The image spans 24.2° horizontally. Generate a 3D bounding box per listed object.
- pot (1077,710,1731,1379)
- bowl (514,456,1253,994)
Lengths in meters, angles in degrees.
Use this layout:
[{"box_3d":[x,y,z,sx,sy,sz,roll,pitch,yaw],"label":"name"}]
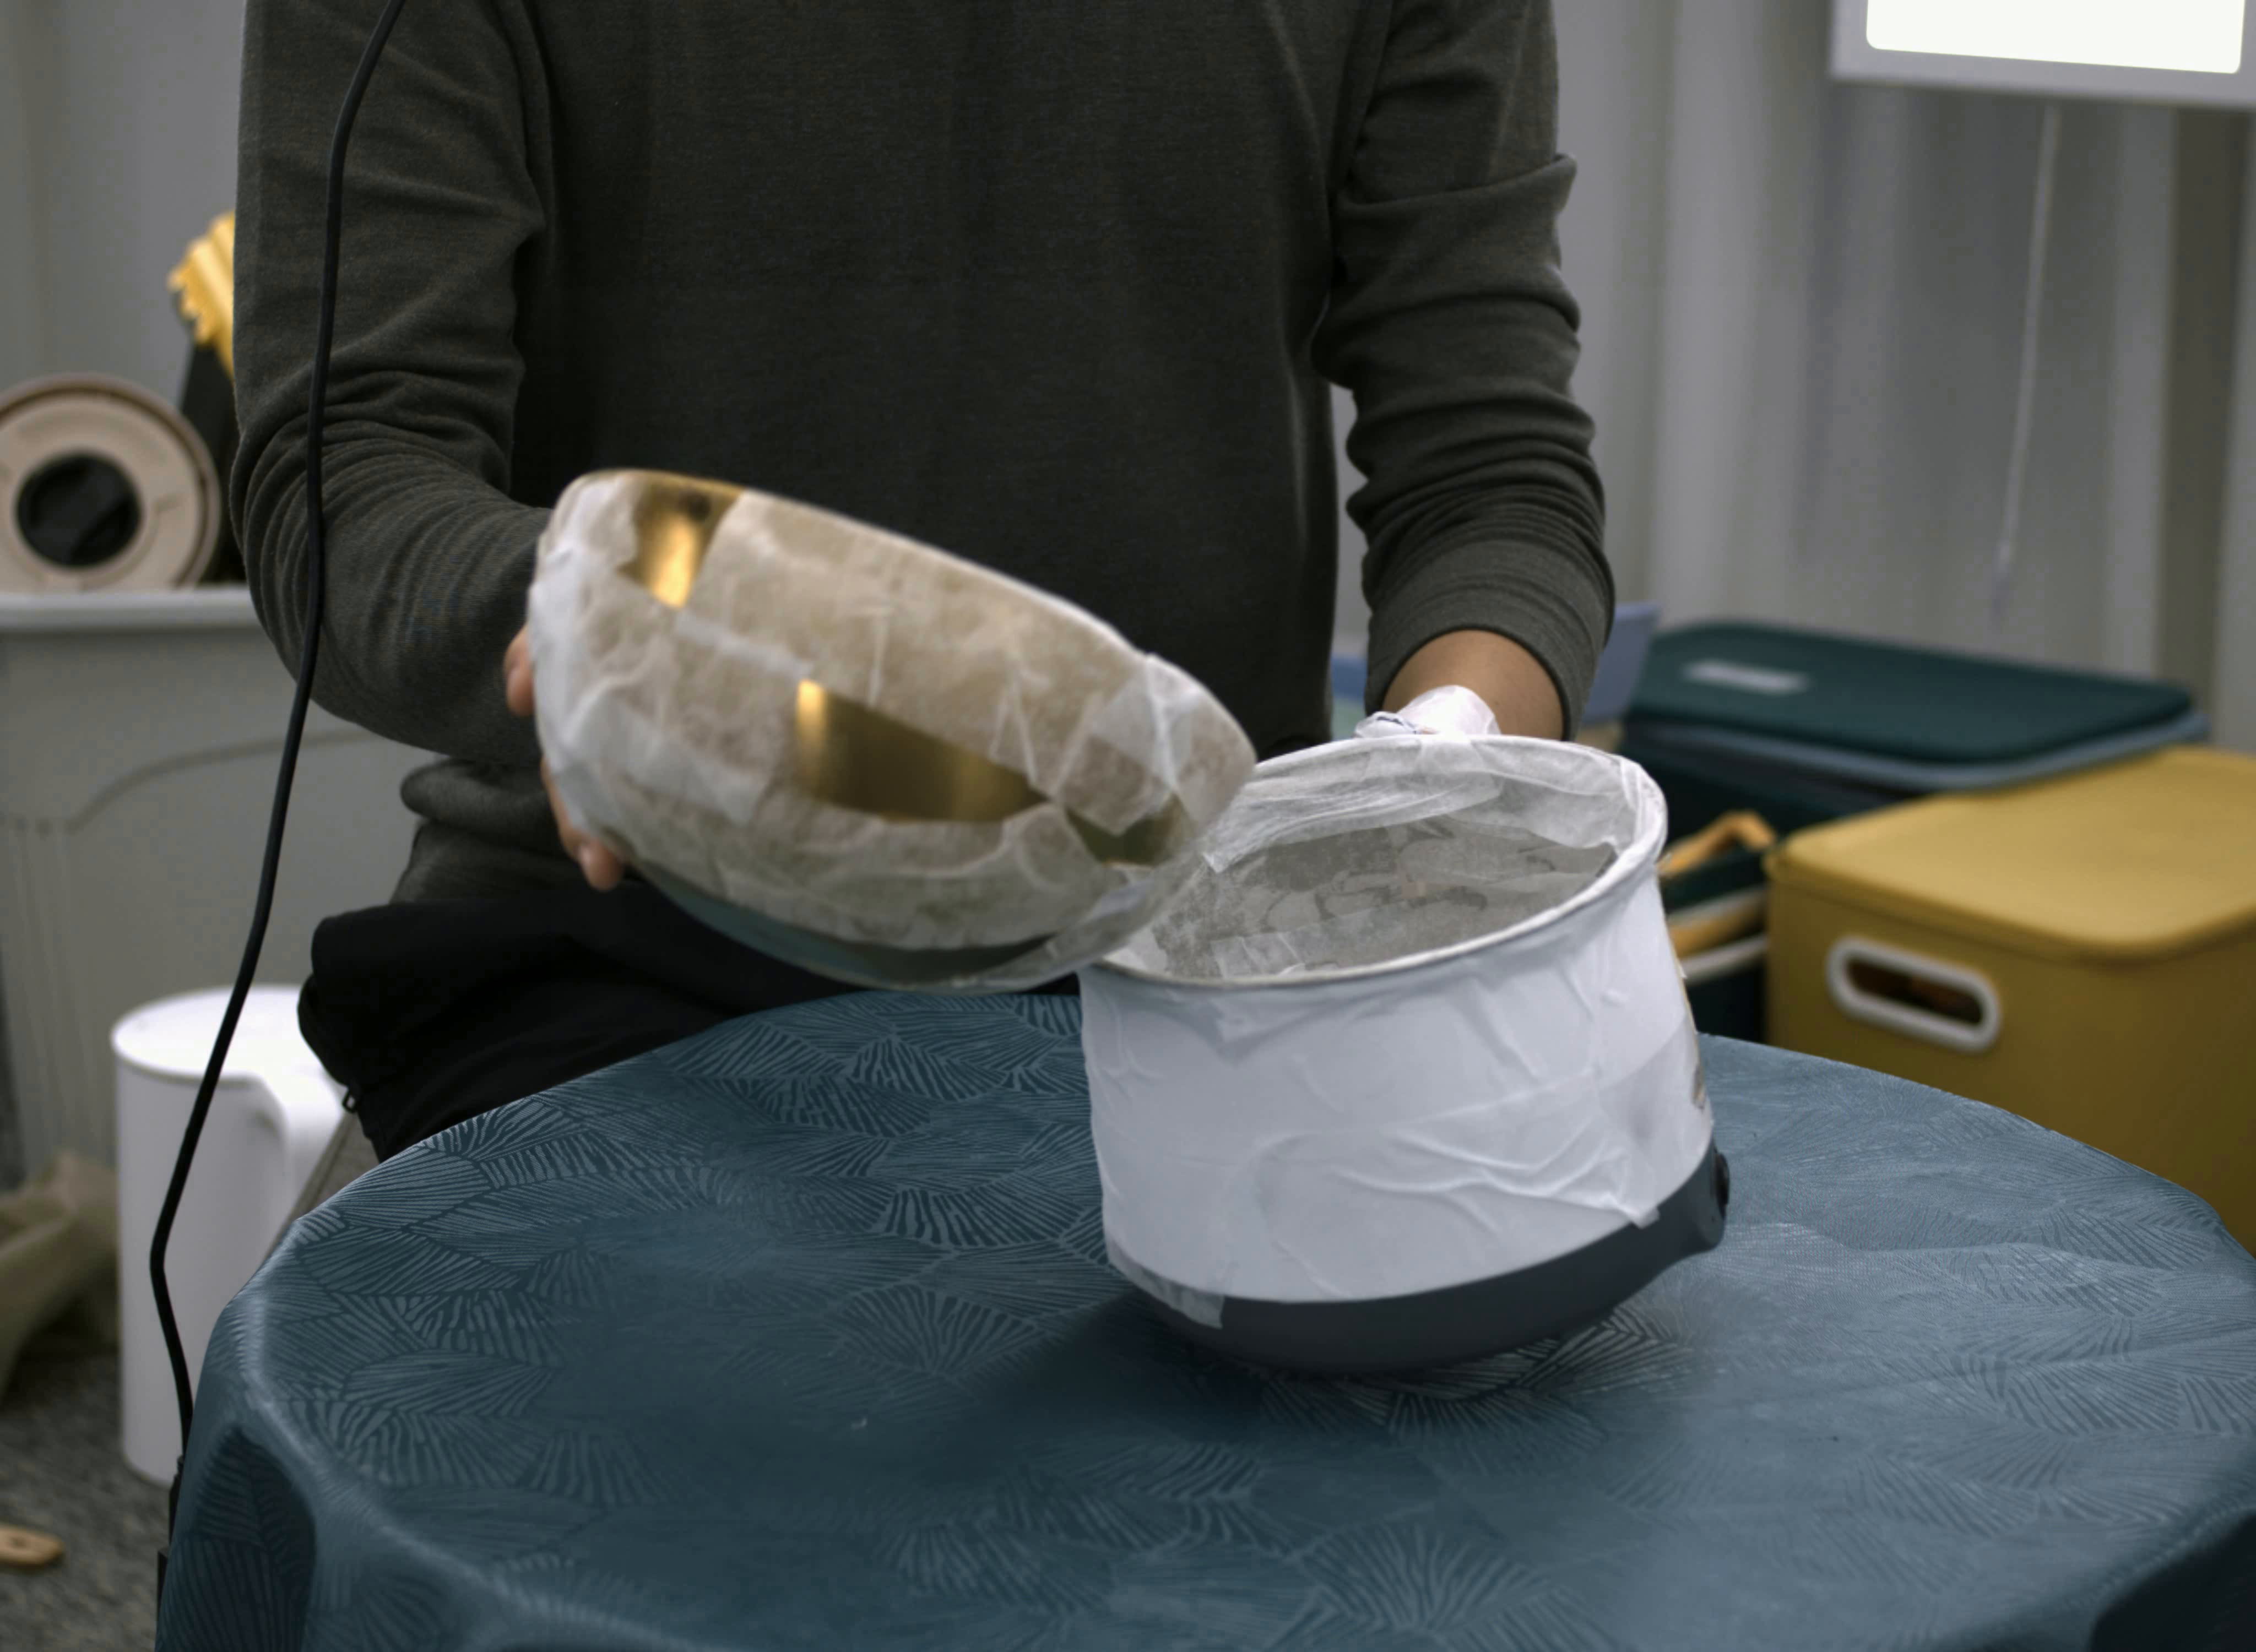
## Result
[{"box_3d":[0.078,0.055,1.517,0.178,0.138,0.232,-7,20,9],"label":"pot"},{"box_3d":[-0.075,-0.011,1.384,0.214,0.094,0.215,18,-11,4],"label":"bowl"}]
